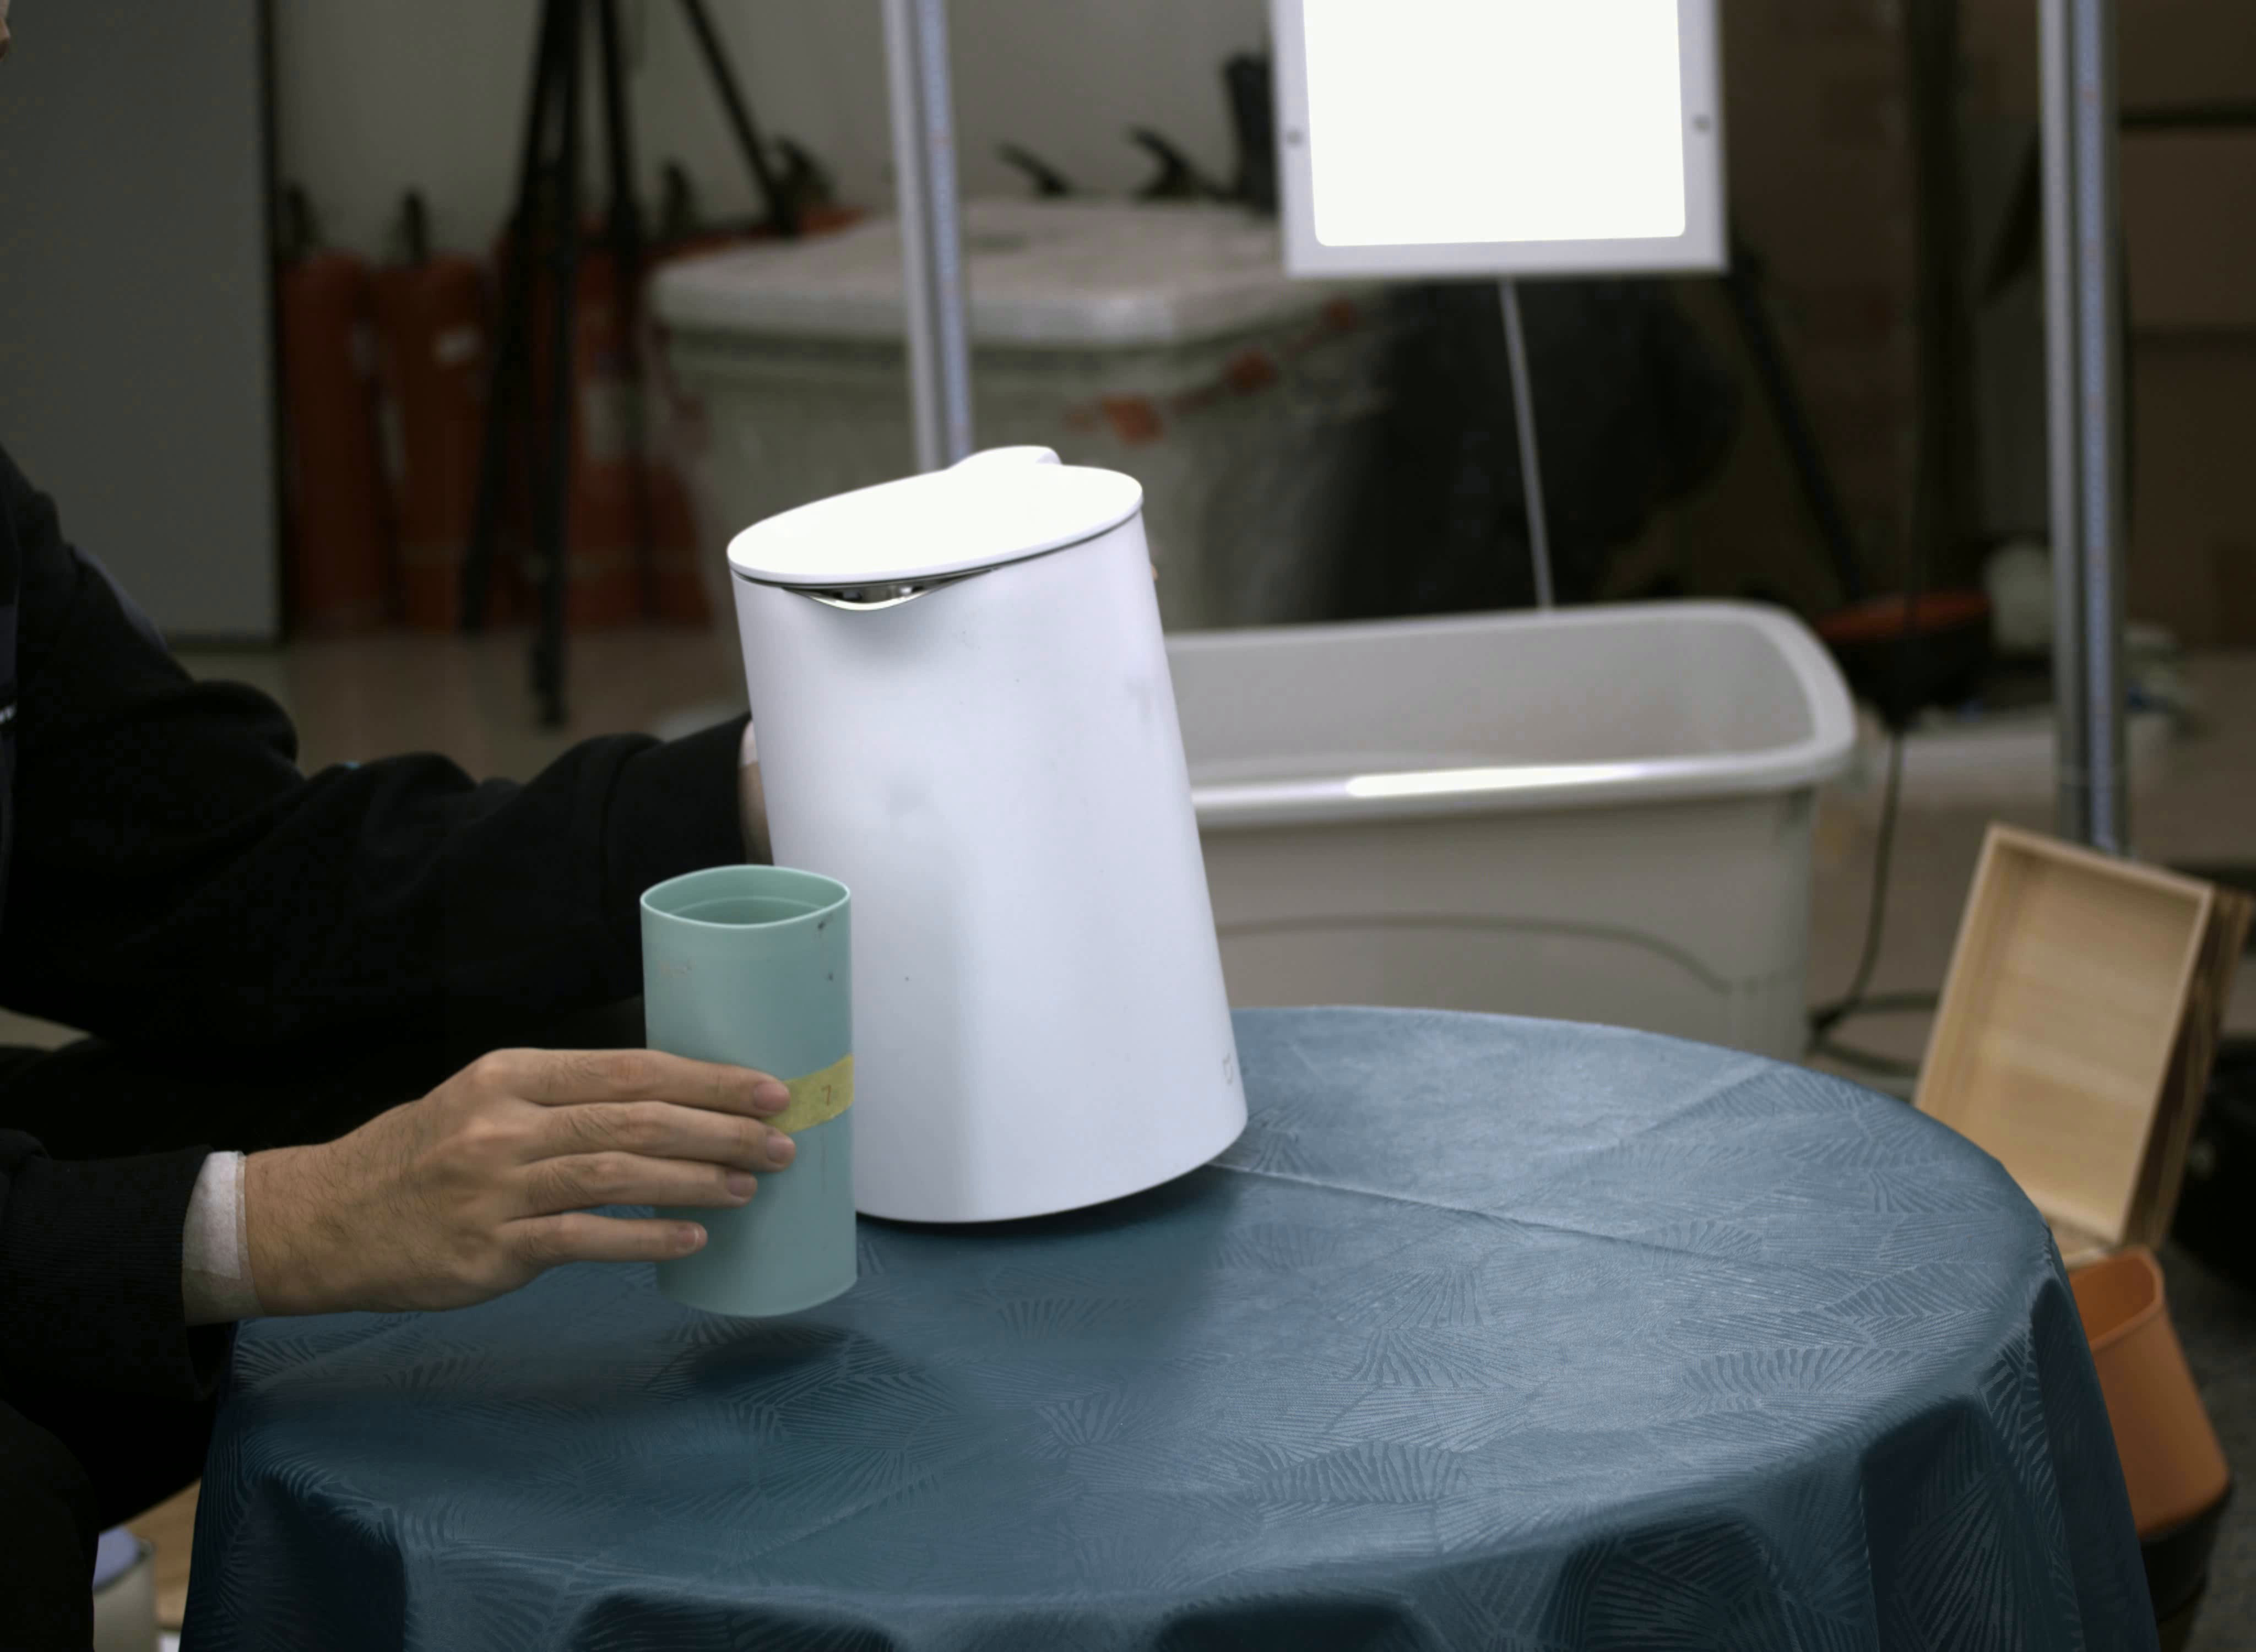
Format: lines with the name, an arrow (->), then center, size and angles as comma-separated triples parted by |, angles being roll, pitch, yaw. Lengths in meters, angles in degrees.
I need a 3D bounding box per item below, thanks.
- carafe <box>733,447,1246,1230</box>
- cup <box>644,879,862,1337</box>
carafe -> -0.041, -0.003, 1.916 | 0.154, 0.241, 0.210 | -3, 16, 16
cup -> -0.119, 0.088, 1.751 | 0.066, 0.133, 0.066 | -1, 17, -1
